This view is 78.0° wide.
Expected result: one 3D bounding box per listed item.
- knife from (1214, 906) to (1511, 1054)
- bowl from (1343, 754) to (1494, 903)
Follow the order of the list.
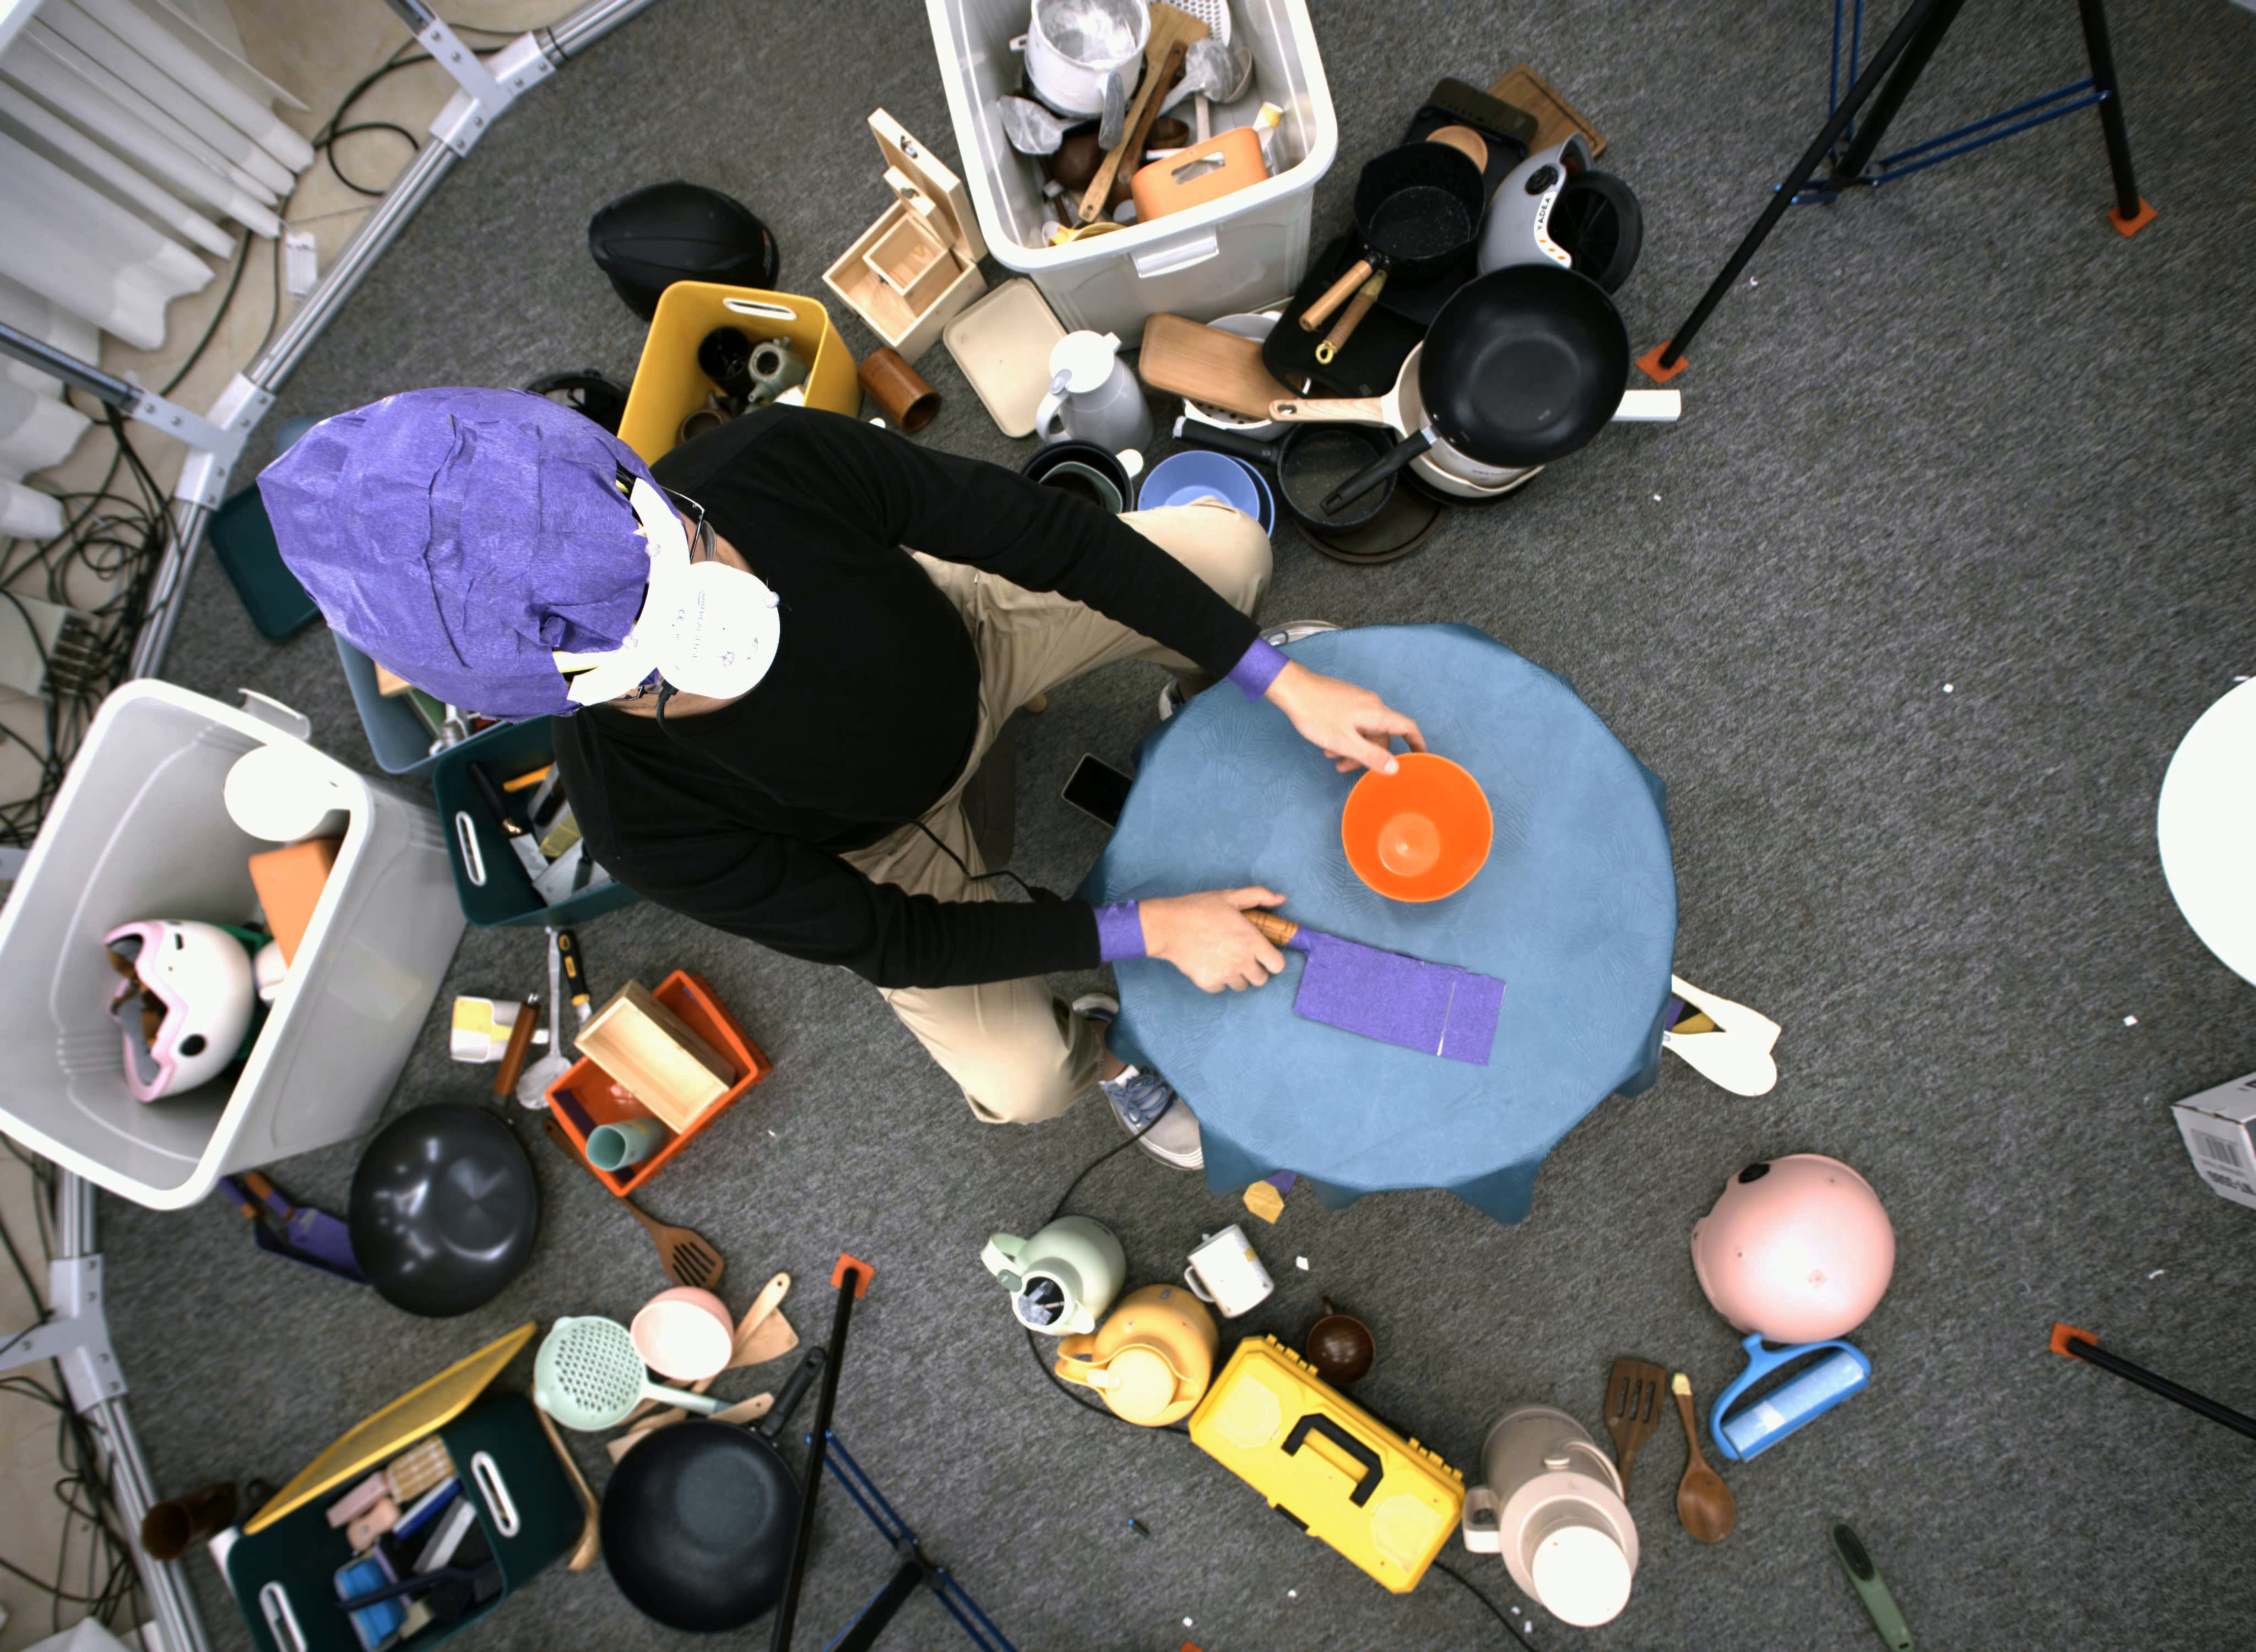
[{"bbox_3d":[0.236,0.163,1.450,0.316,0.032,0.103,14,89,10],"label":"knife"},{"bbox_3d":[0.294,0.005,1.409,0.148,0.104,0.147,-1,87,10],"label":"bowl"}]
